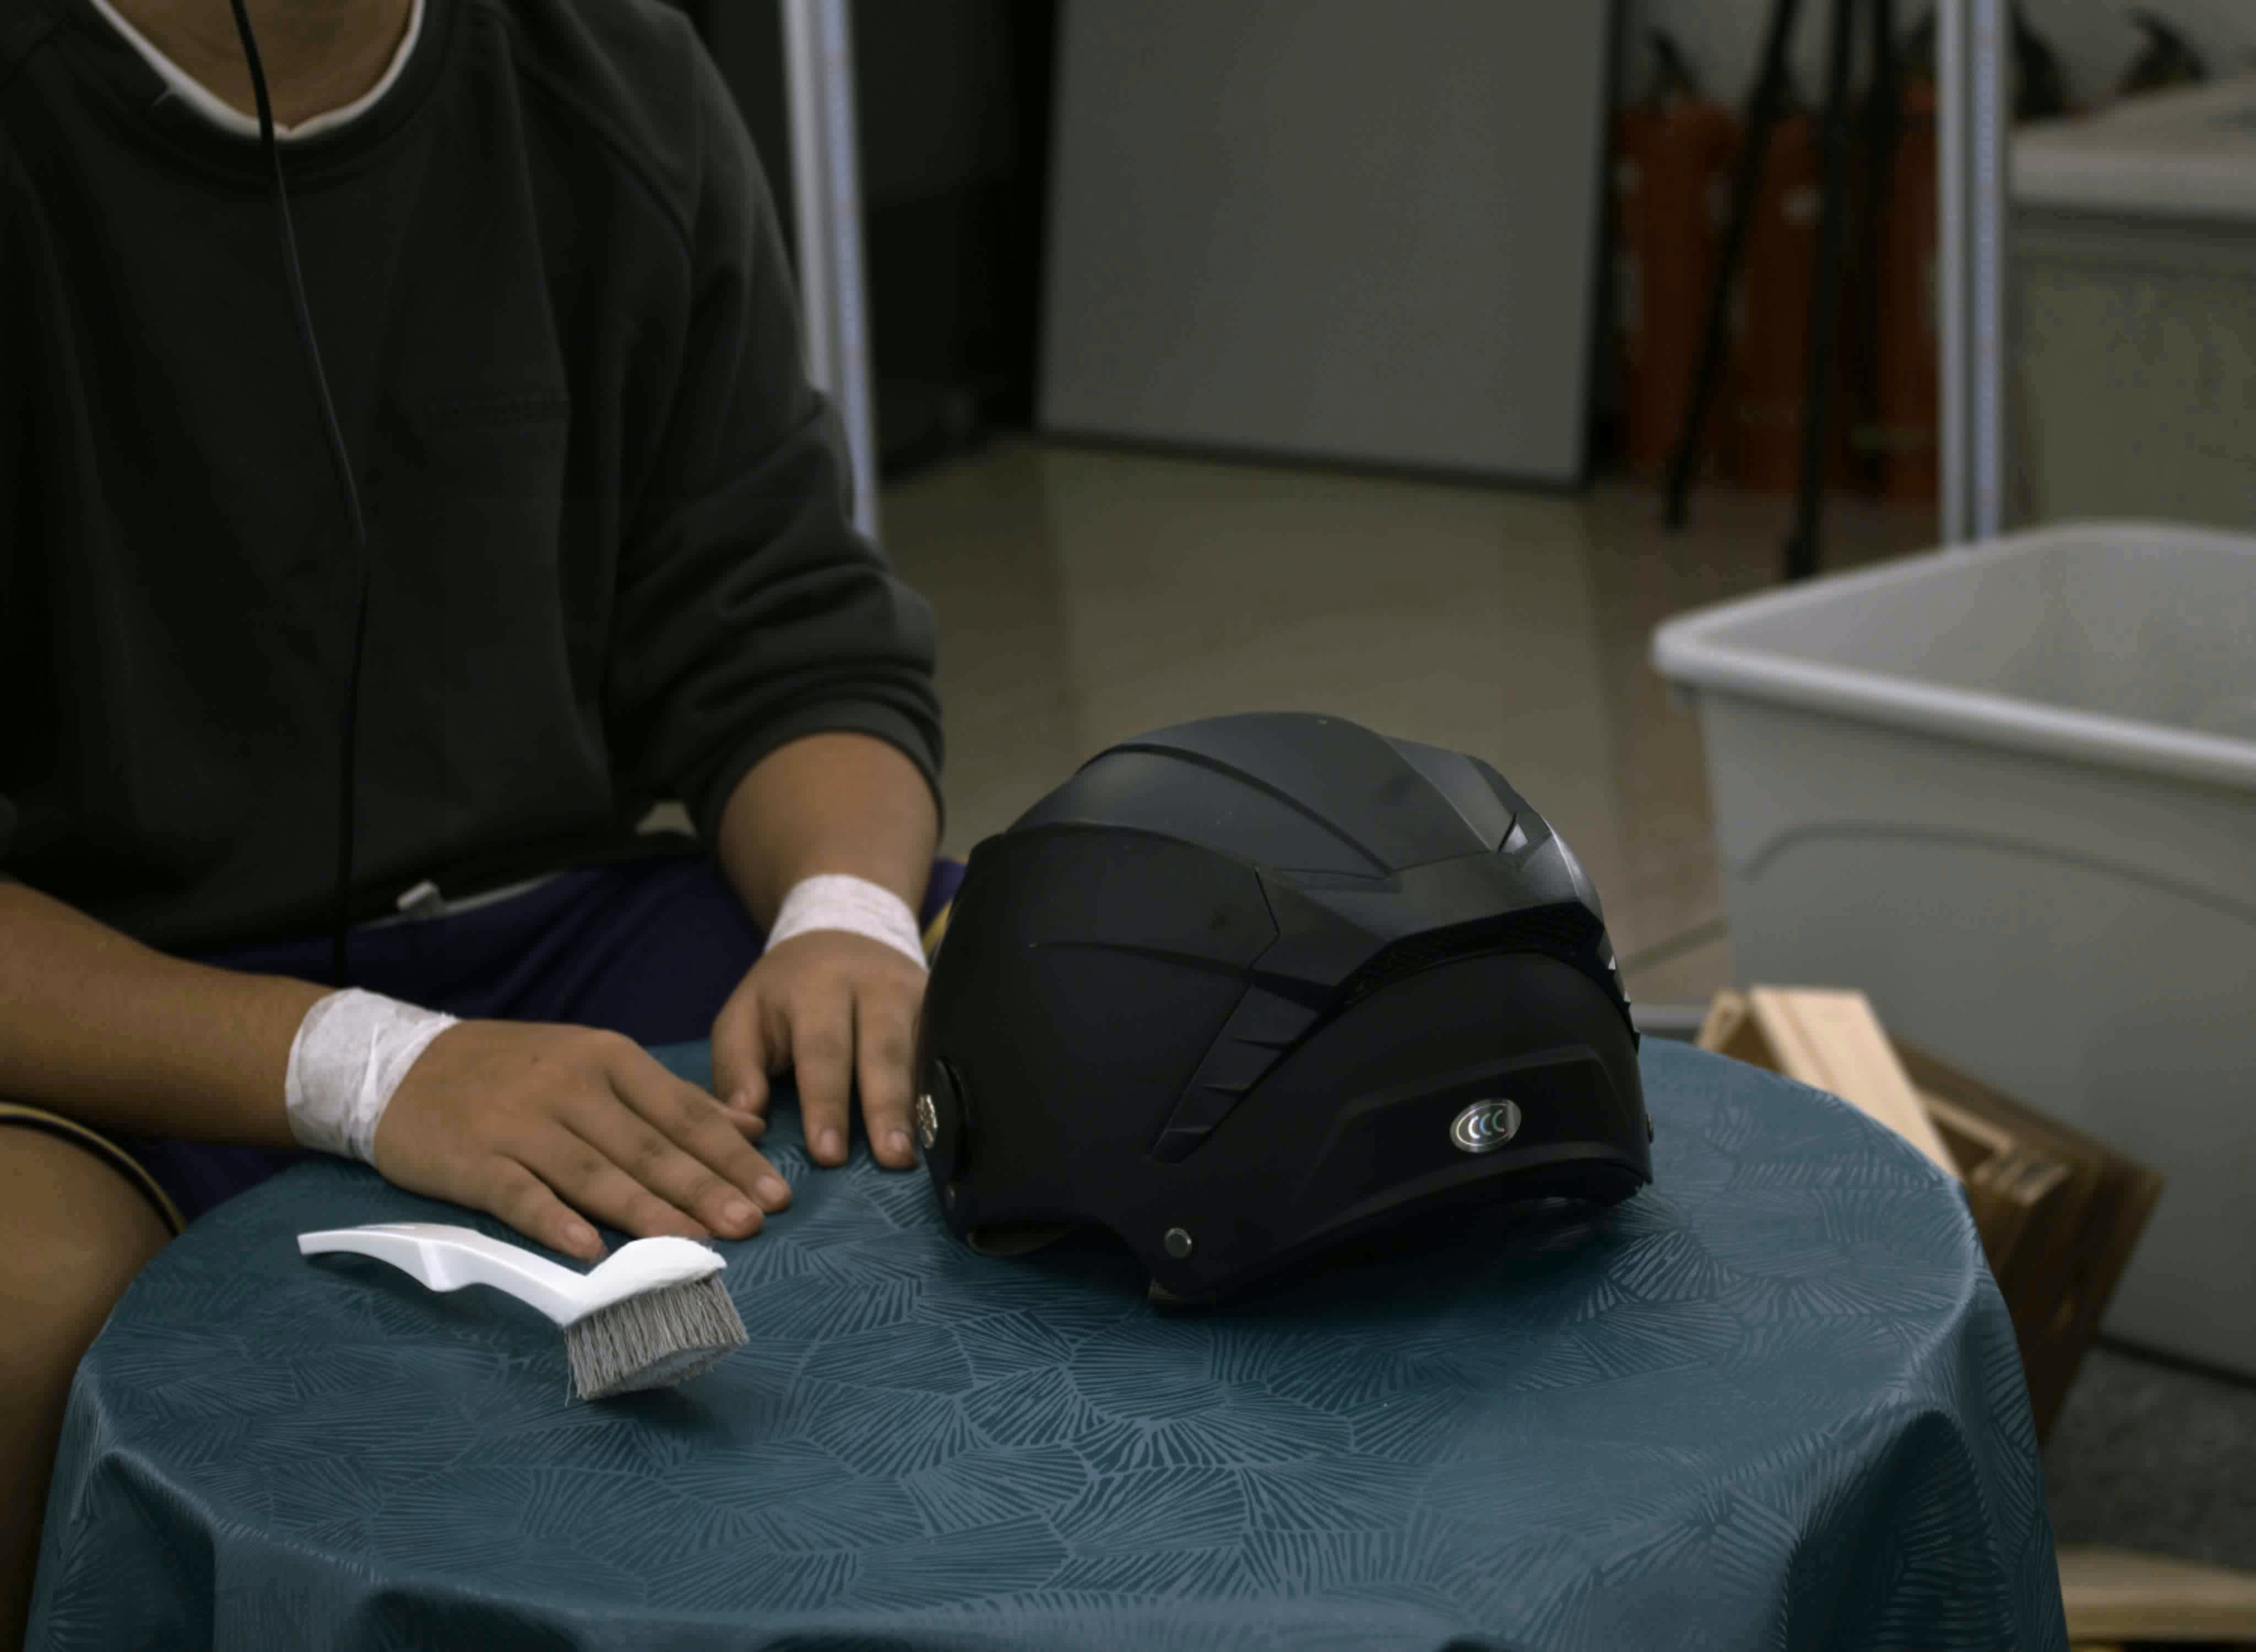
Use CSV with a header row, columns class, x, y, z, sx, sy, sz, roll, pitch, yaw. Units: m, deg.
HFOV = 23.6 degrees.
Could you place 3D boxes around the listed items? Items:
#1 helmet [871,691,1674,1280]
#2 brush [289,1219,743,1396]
class,x,y,z,sx,sy,sz,roll,pitch,yaw
helmet,0.048,0.044,1.732,0.241,0.174,0.279,-10,16,-25
brush,-0.192,0.149,1.663,0.033,0.051,0.246,-5,-2,-36
